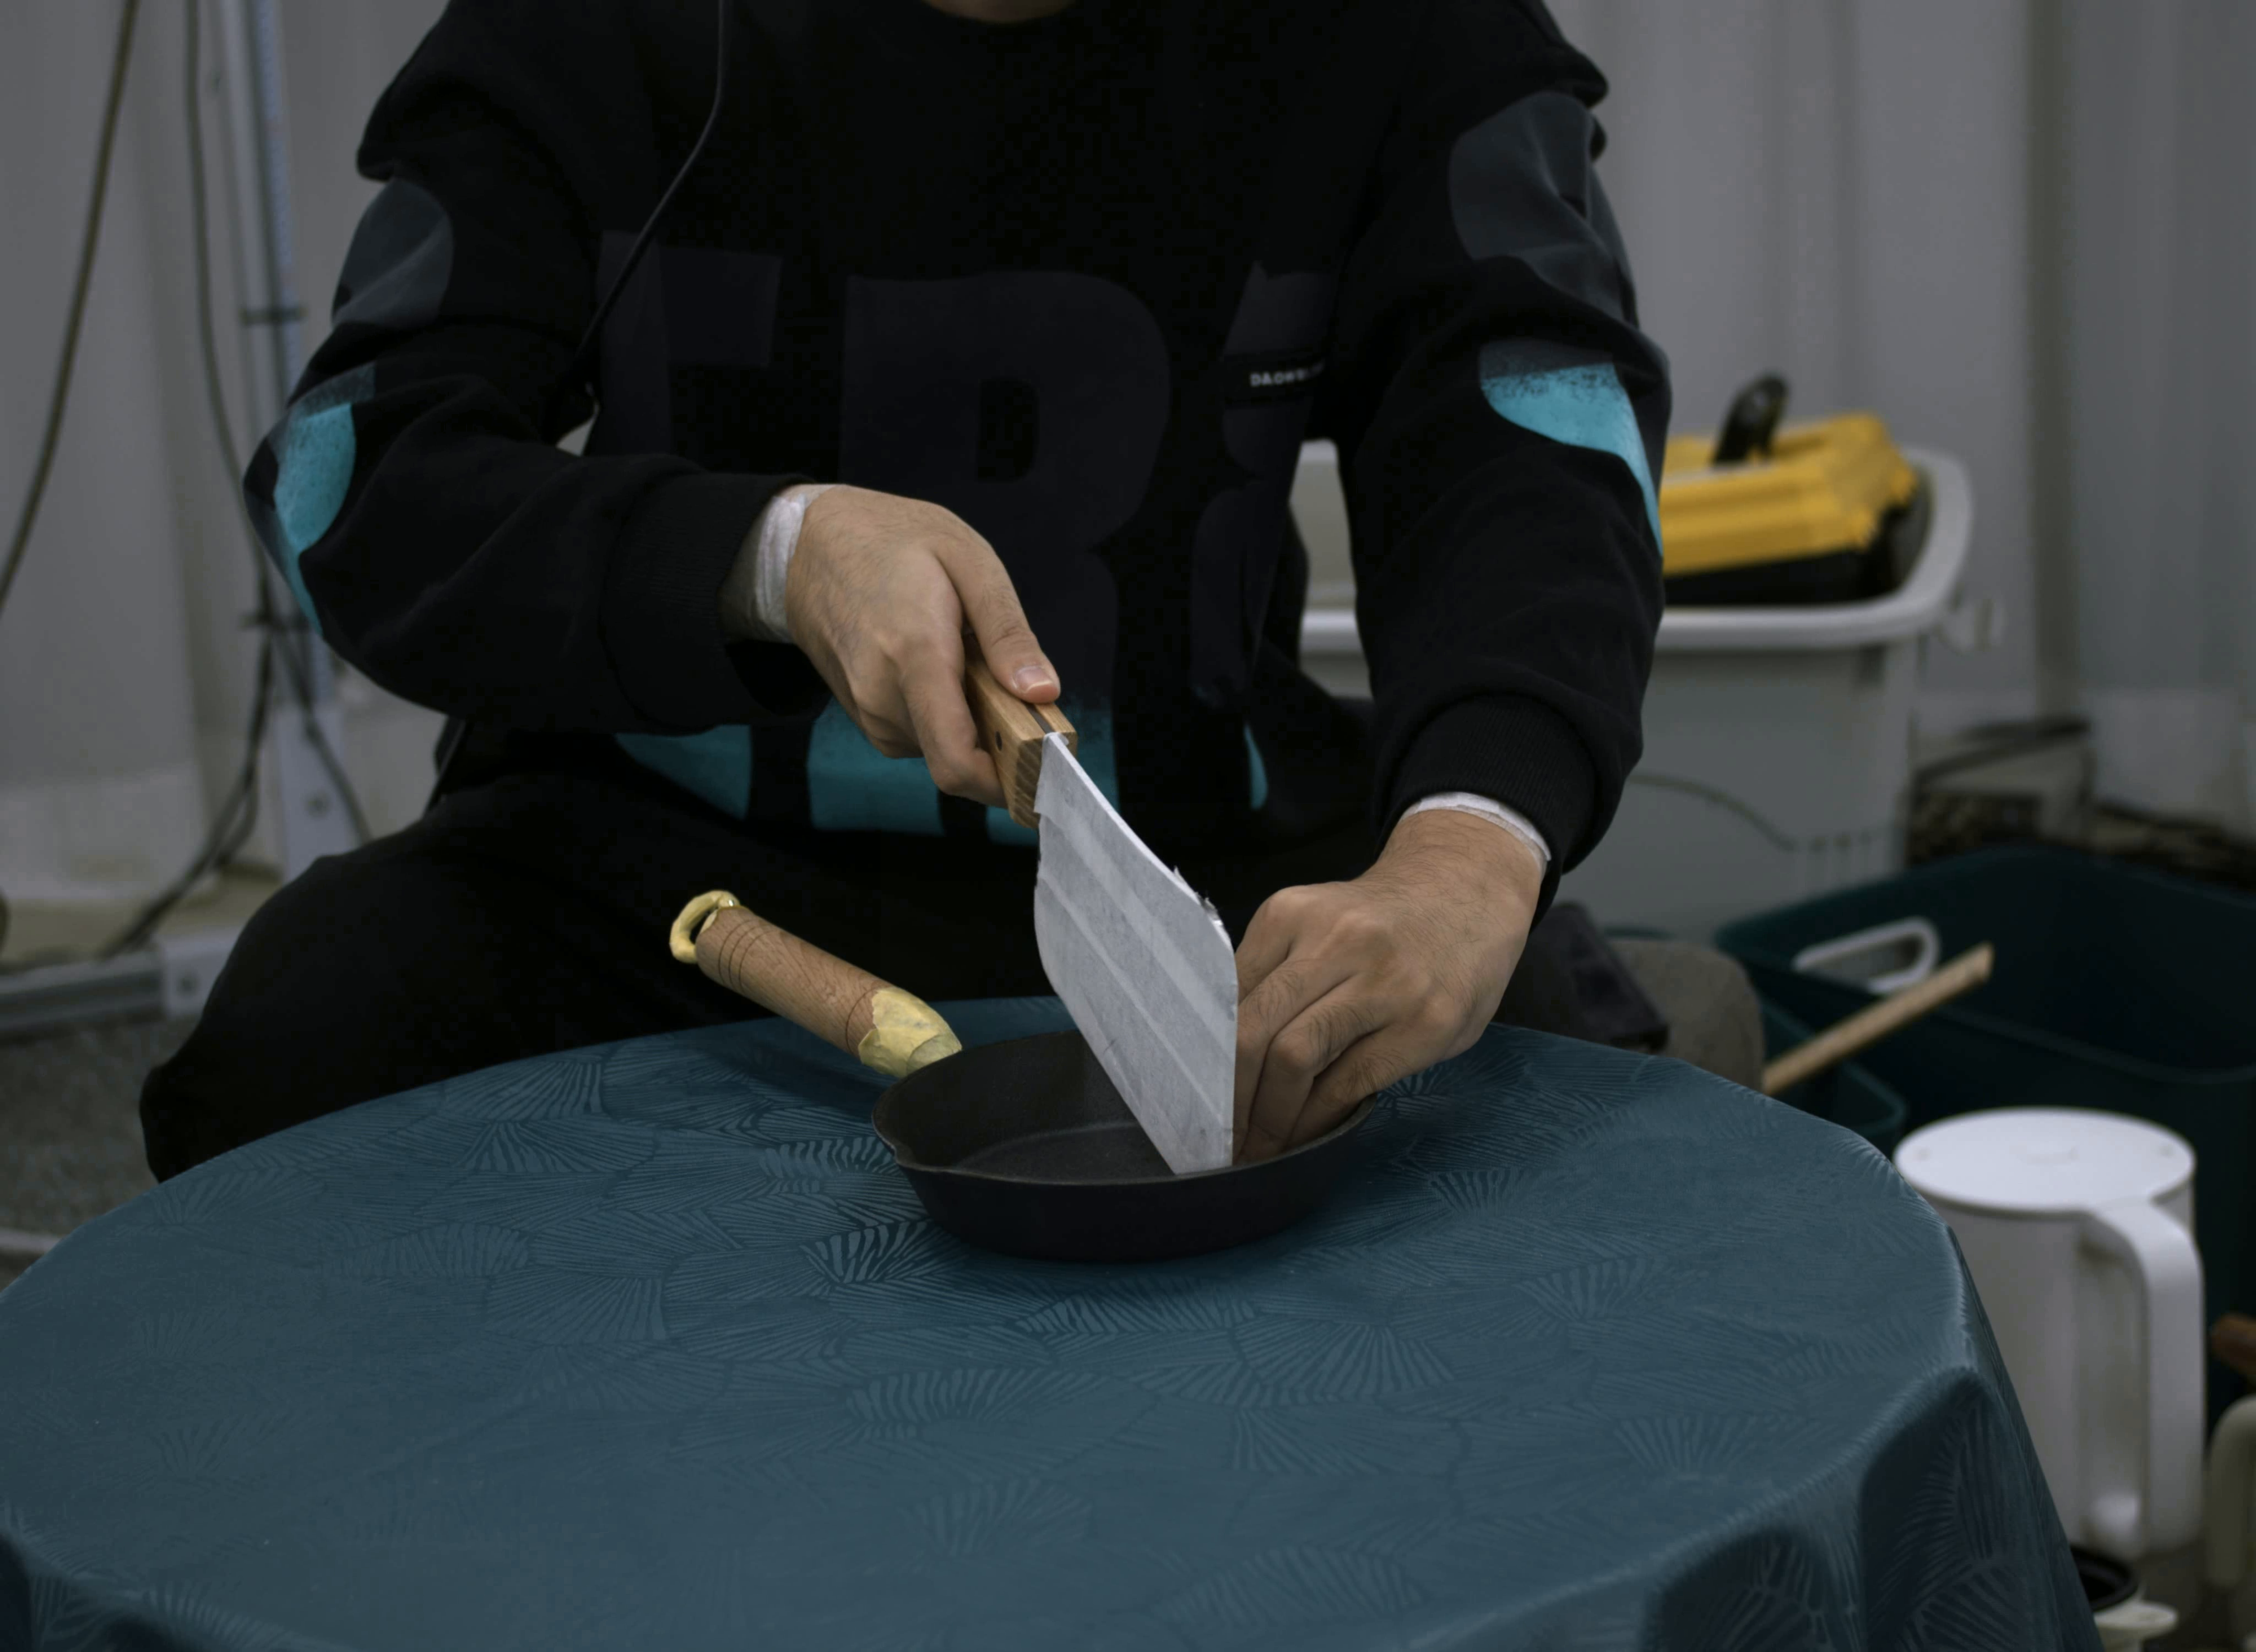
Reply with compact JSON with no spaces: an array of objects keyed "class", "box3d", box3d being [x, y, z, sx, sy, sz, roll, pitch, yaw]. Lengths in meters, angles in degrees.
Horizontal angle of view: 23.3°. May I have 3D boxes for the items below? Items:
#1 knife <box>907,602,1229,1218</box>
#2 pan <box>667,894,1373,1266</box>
[{"class":"knife","box3d":[-0.018,0.009,1.763,0.021,0.113,0.320,-6,31,-17]},{"class":"pan","box3d":[-0.052,0.078,1.768,0.168,0.049,0.326,-14,20,-35]}]
